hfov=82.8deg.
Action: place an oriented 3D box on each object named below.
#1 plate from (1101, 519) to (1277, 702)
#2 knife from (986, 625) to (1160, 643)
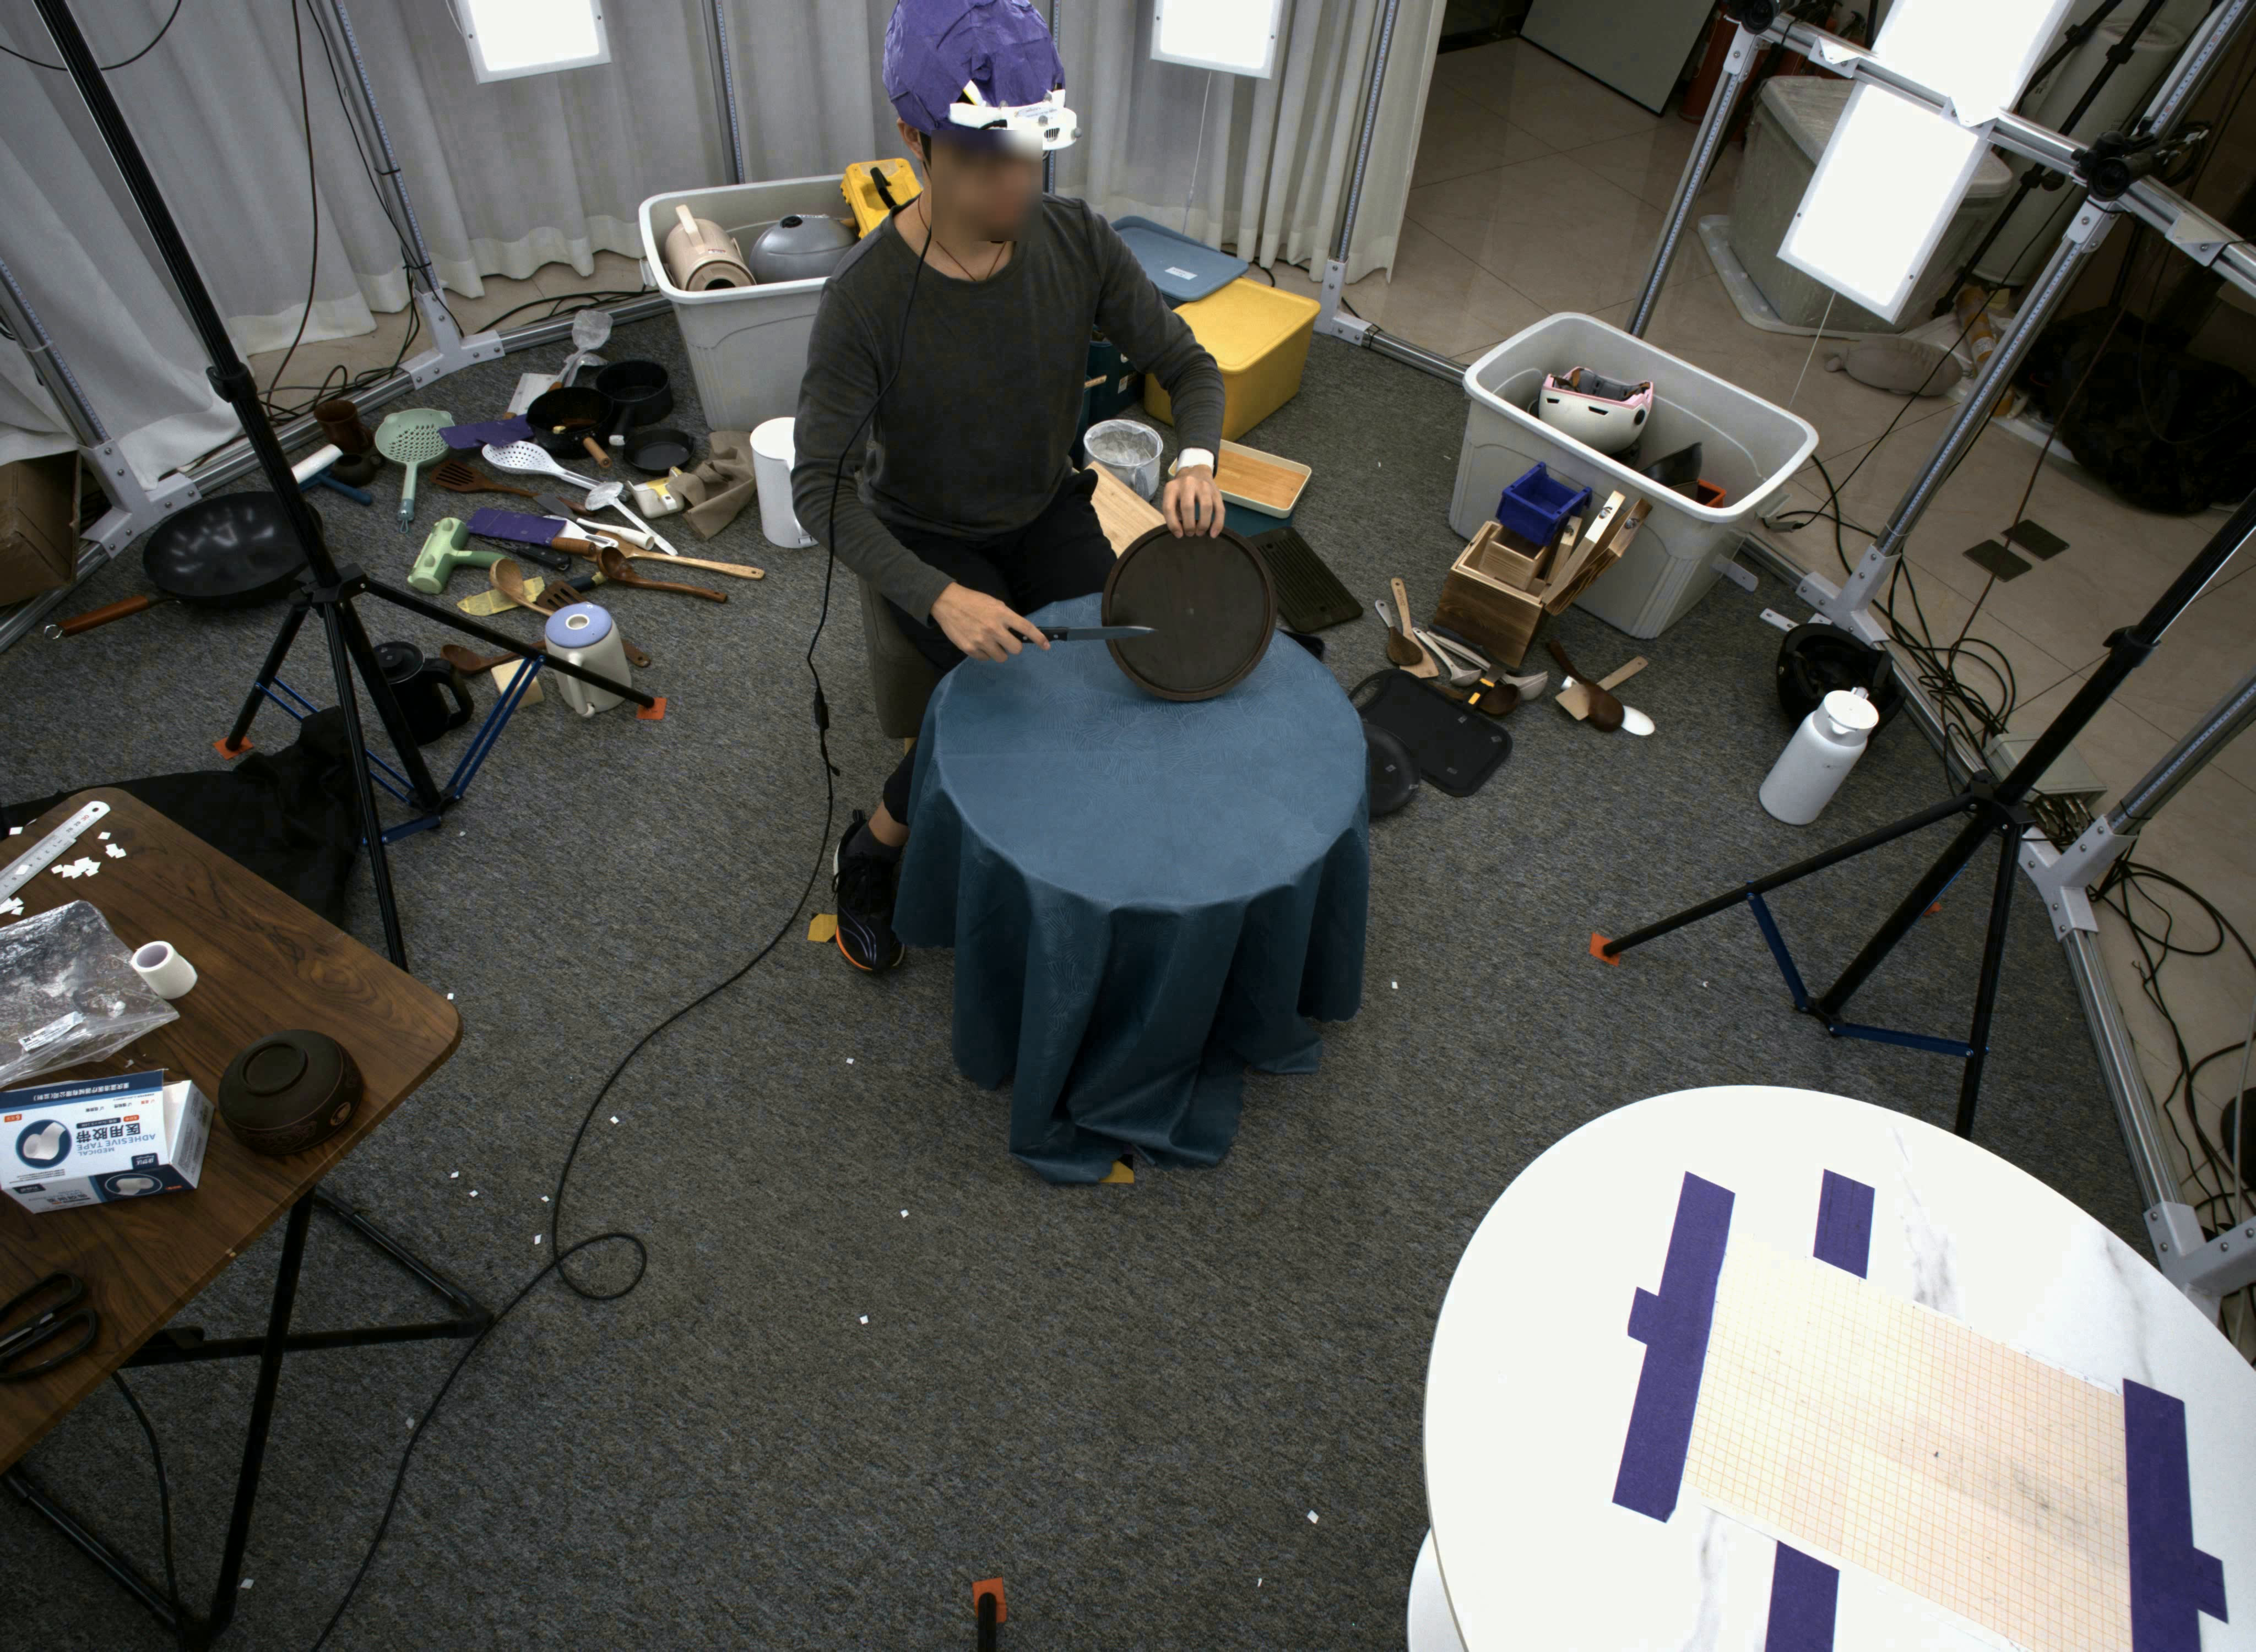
[{"bbox_3d":[0.086,-0.301,1.803,0.254,0.252,0.029,-6,15,-10],"label":"plate"},{"bbox_3d":[-0.076,-0.264,1.756,0.238,0.024,0.017,-1,43,3],"label":"knife"}]
